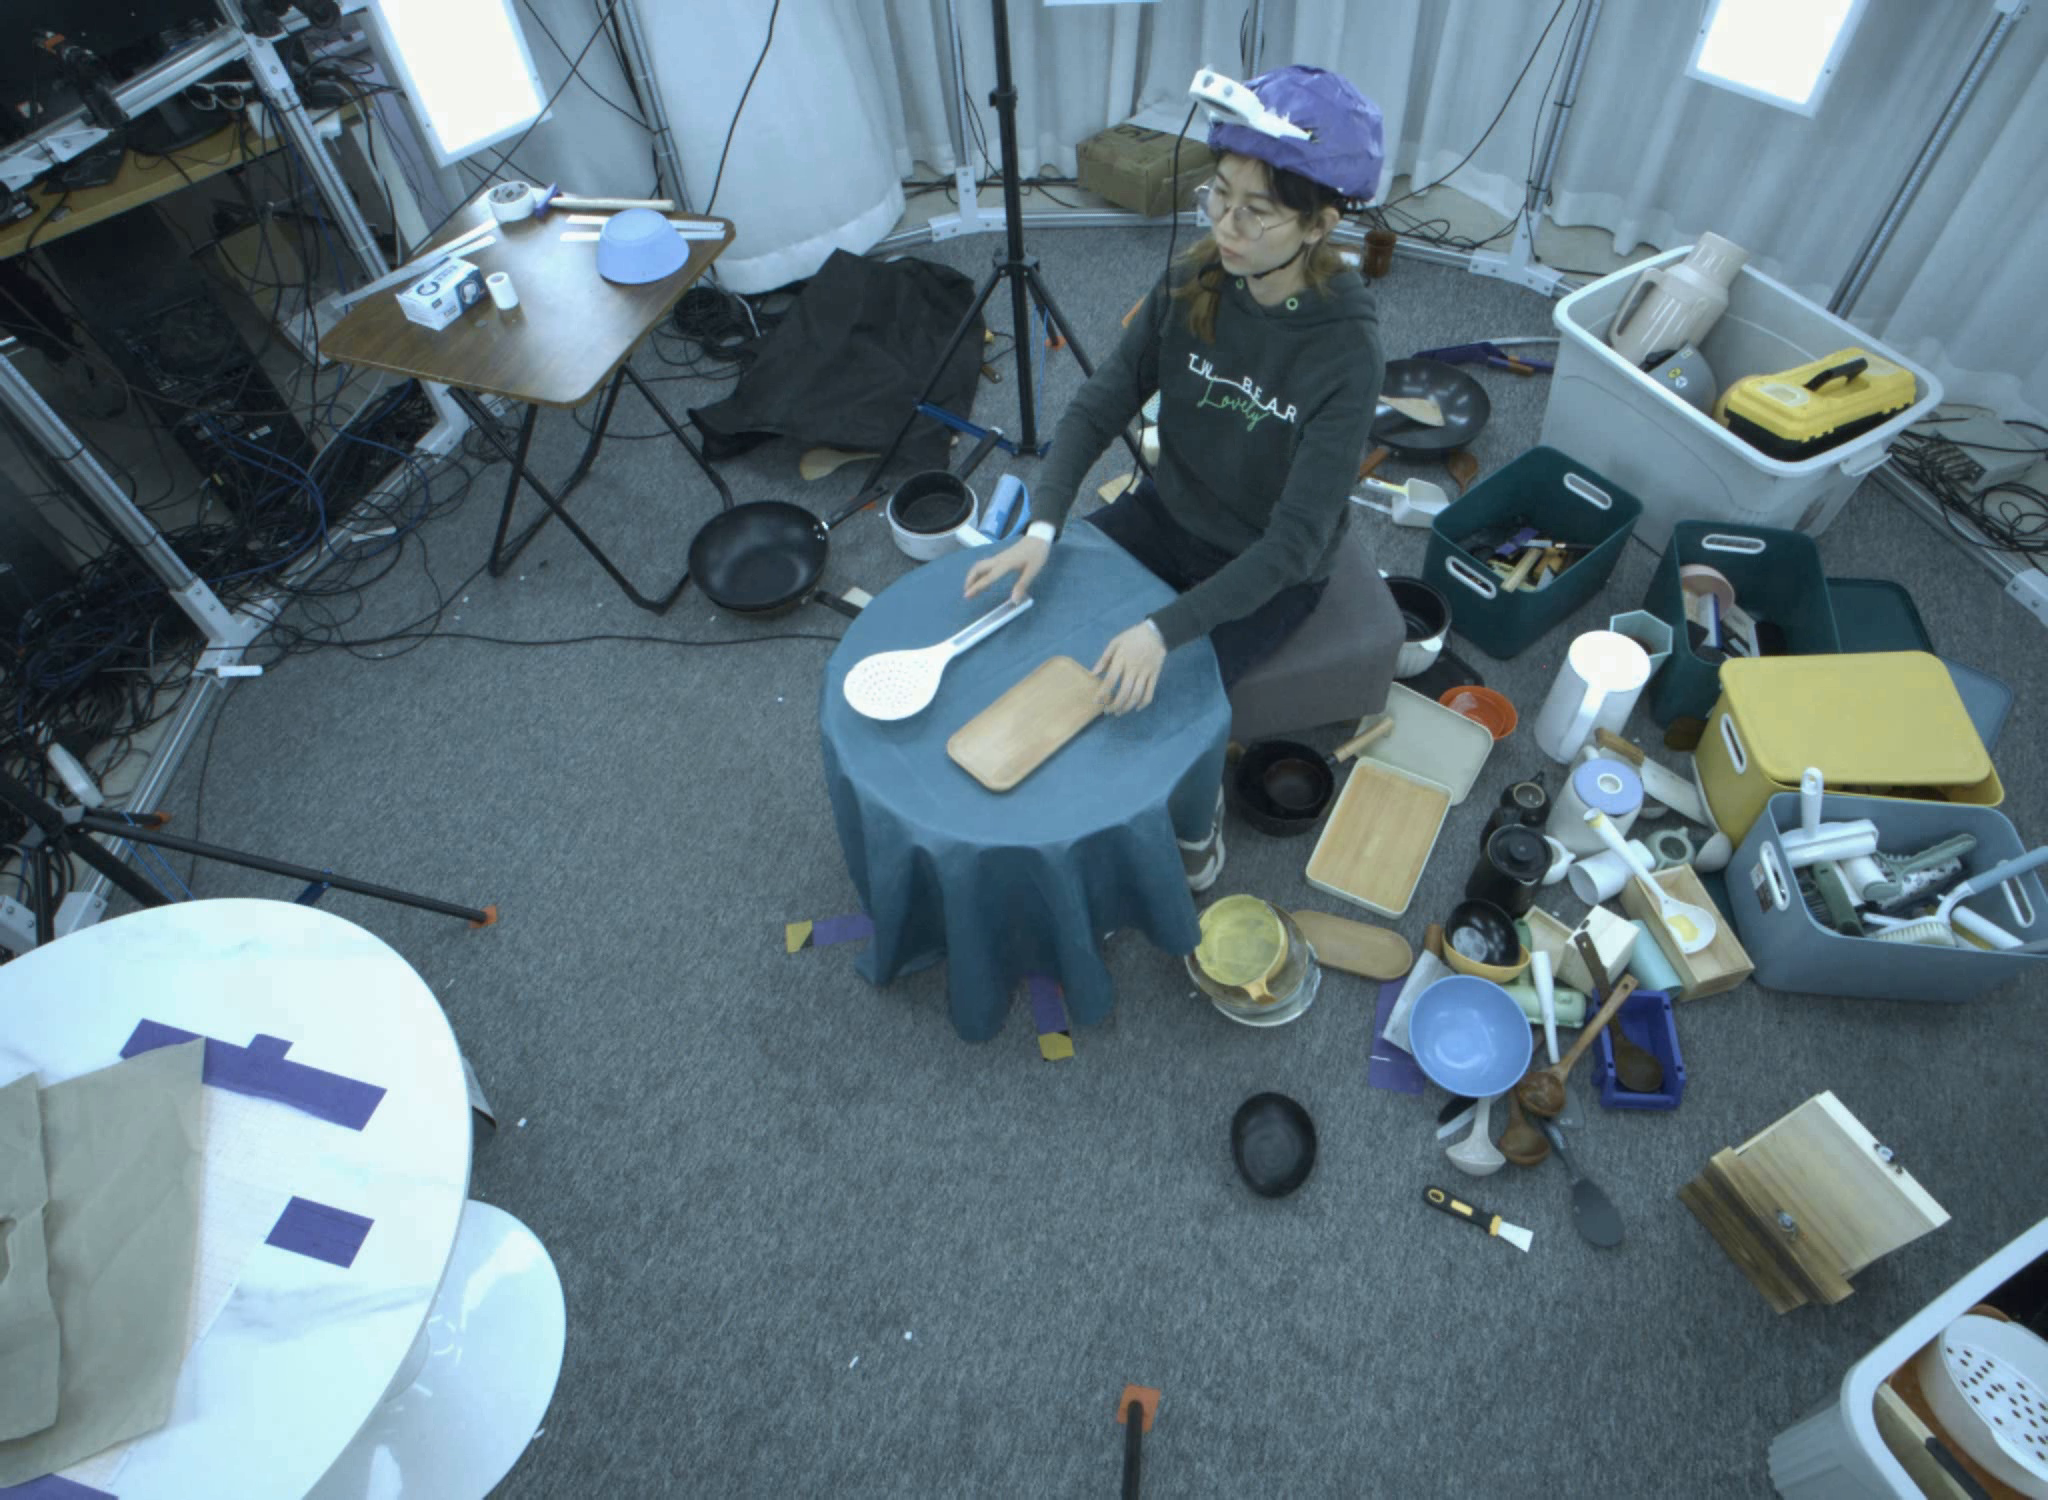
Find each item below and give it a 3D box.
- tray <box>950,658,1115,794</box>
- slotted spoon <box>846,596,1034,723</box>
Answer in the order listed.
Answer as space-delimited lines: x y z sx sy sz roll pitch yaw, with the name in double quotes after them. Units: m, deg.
0.013 -0.037 1.813 0.252 0.023 0.128 -39 64 -24 "tray"
-0.118 -0.146 1.876 0.352 0.046 0.133 -39 62 -23 "slotted spoon"
